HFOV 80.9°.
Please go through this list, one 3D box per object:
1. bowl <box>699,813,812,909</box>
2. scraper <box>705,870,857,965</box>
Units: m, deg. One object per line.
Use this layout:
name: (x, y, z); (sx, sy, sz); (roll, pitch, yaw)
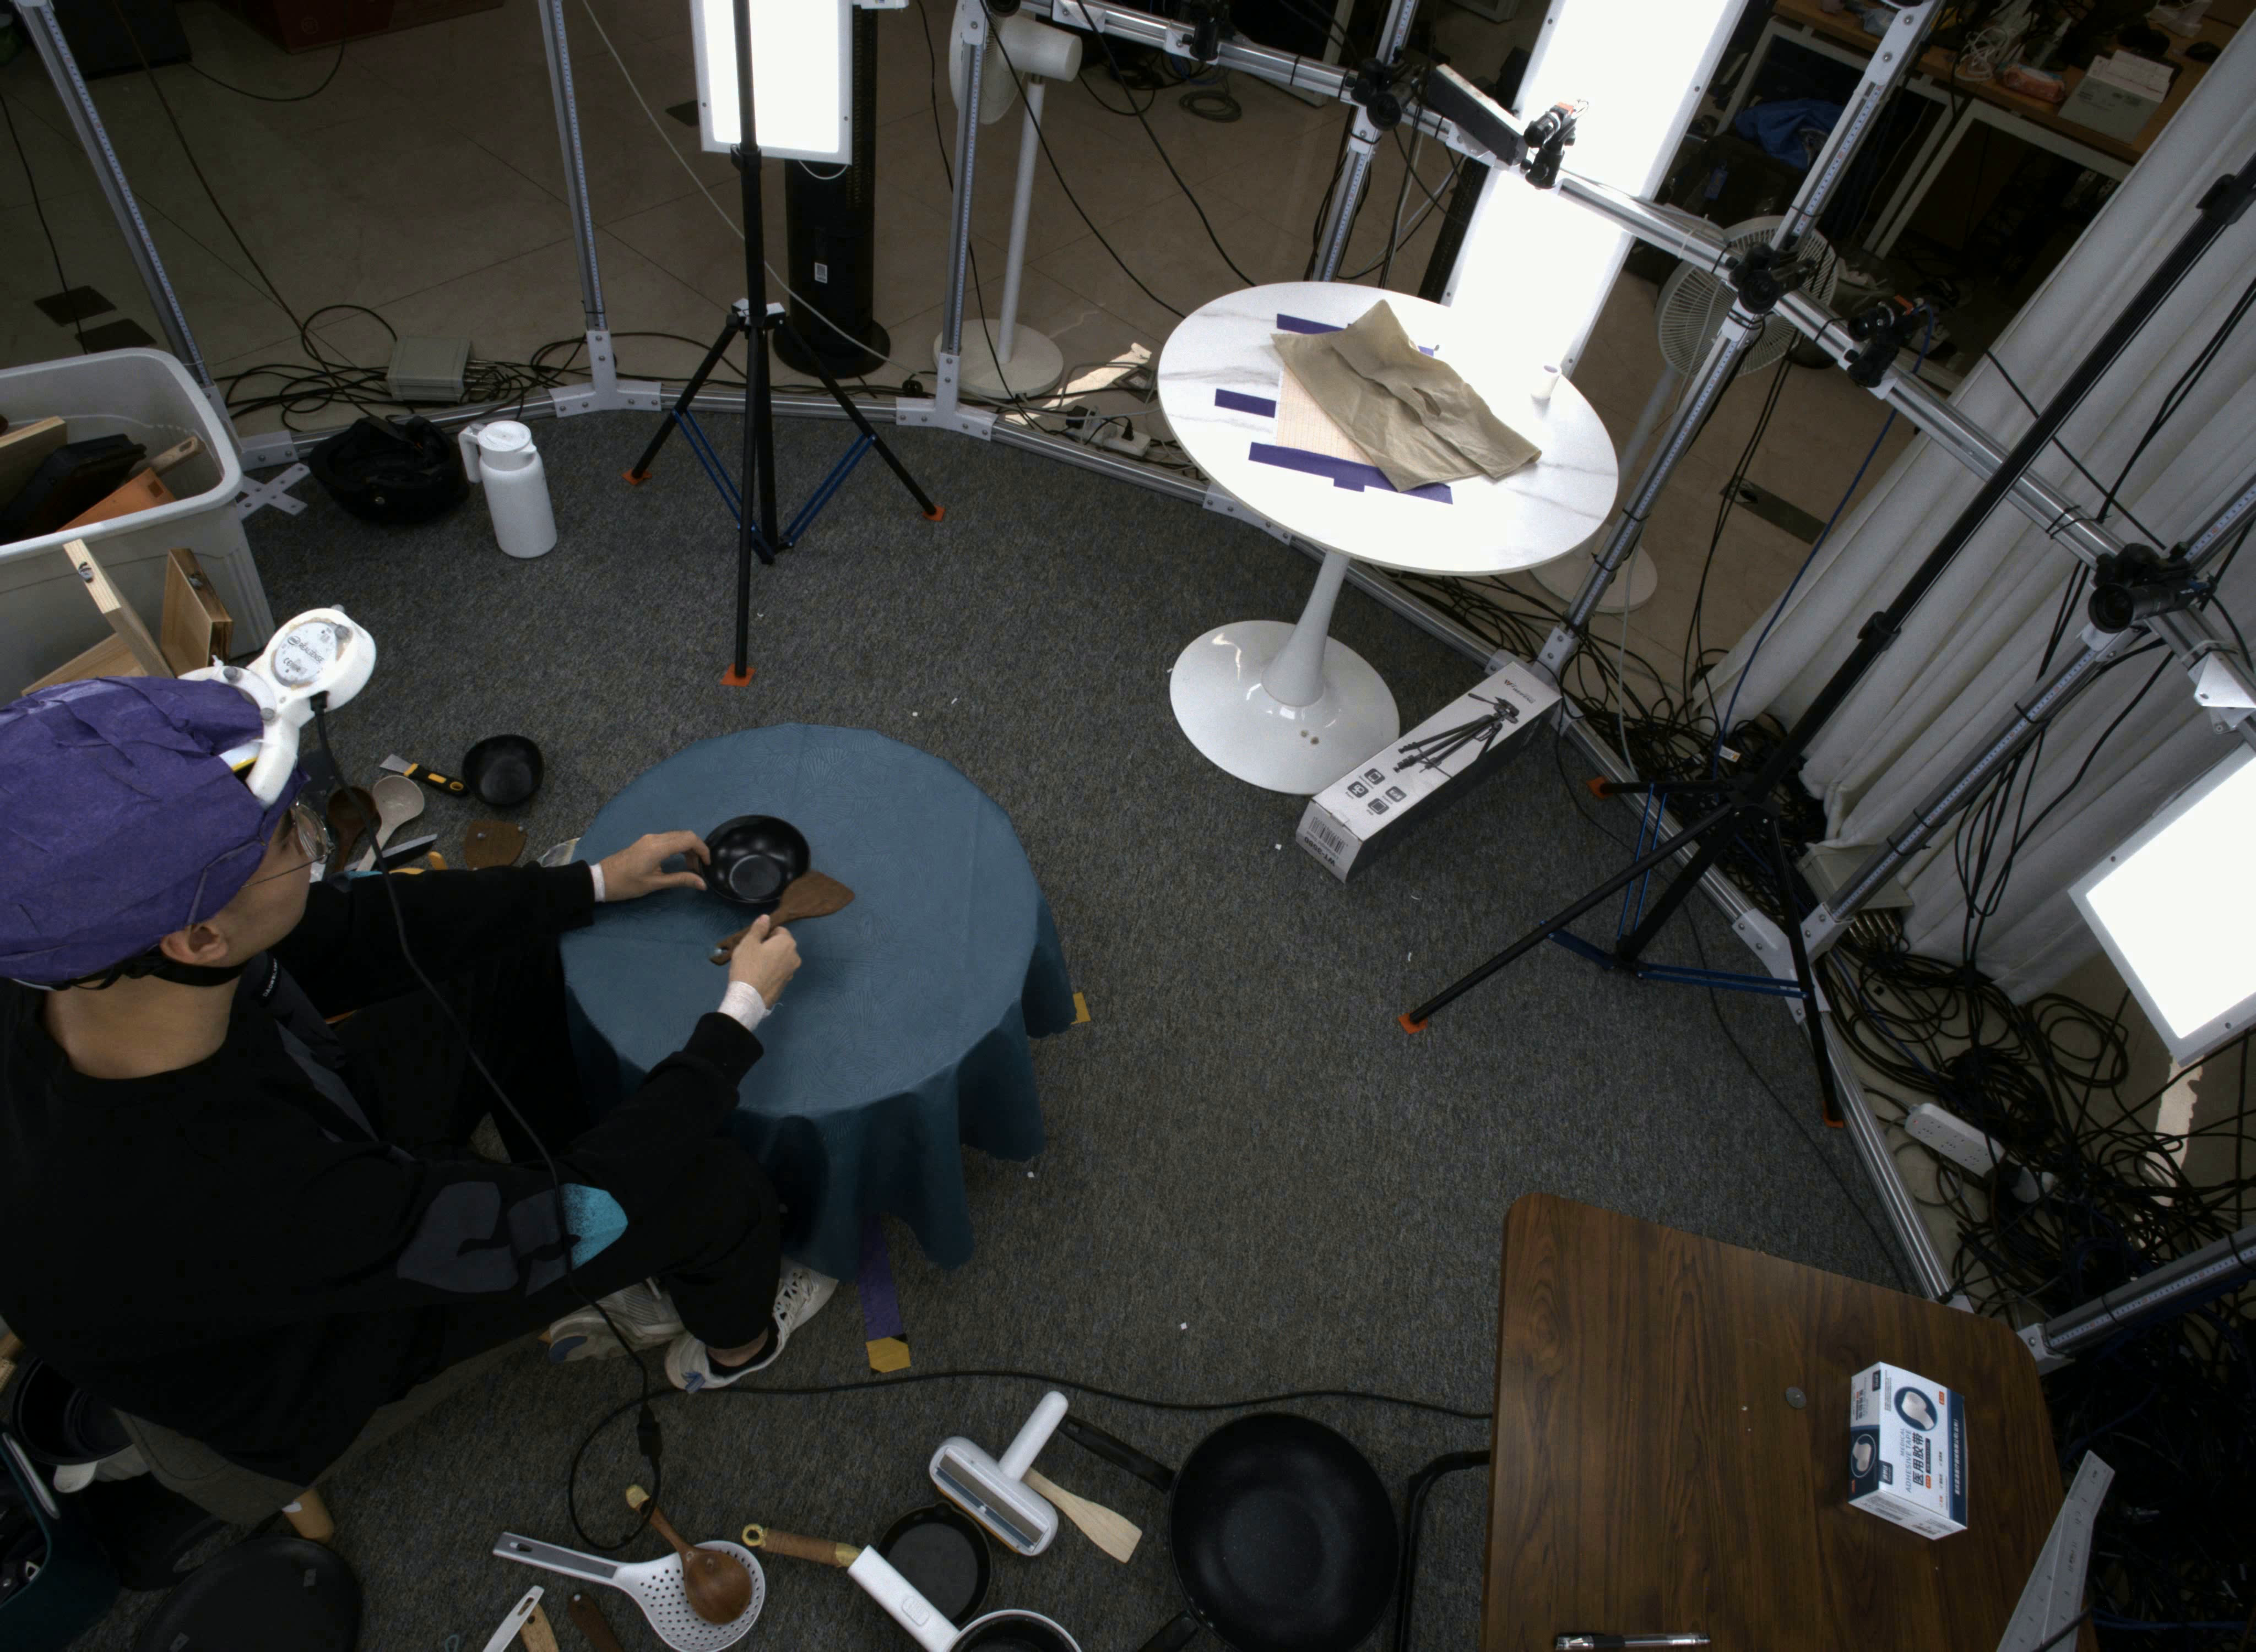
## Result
bowl: (-0.473, 0.052, 1.645); (0.140, 0.050, 0.137); (10, 52, -11)
scraper: (-0.408, 0.107, 1.508); (0.074, 0.011, 0.212); (29, 34, 18)
